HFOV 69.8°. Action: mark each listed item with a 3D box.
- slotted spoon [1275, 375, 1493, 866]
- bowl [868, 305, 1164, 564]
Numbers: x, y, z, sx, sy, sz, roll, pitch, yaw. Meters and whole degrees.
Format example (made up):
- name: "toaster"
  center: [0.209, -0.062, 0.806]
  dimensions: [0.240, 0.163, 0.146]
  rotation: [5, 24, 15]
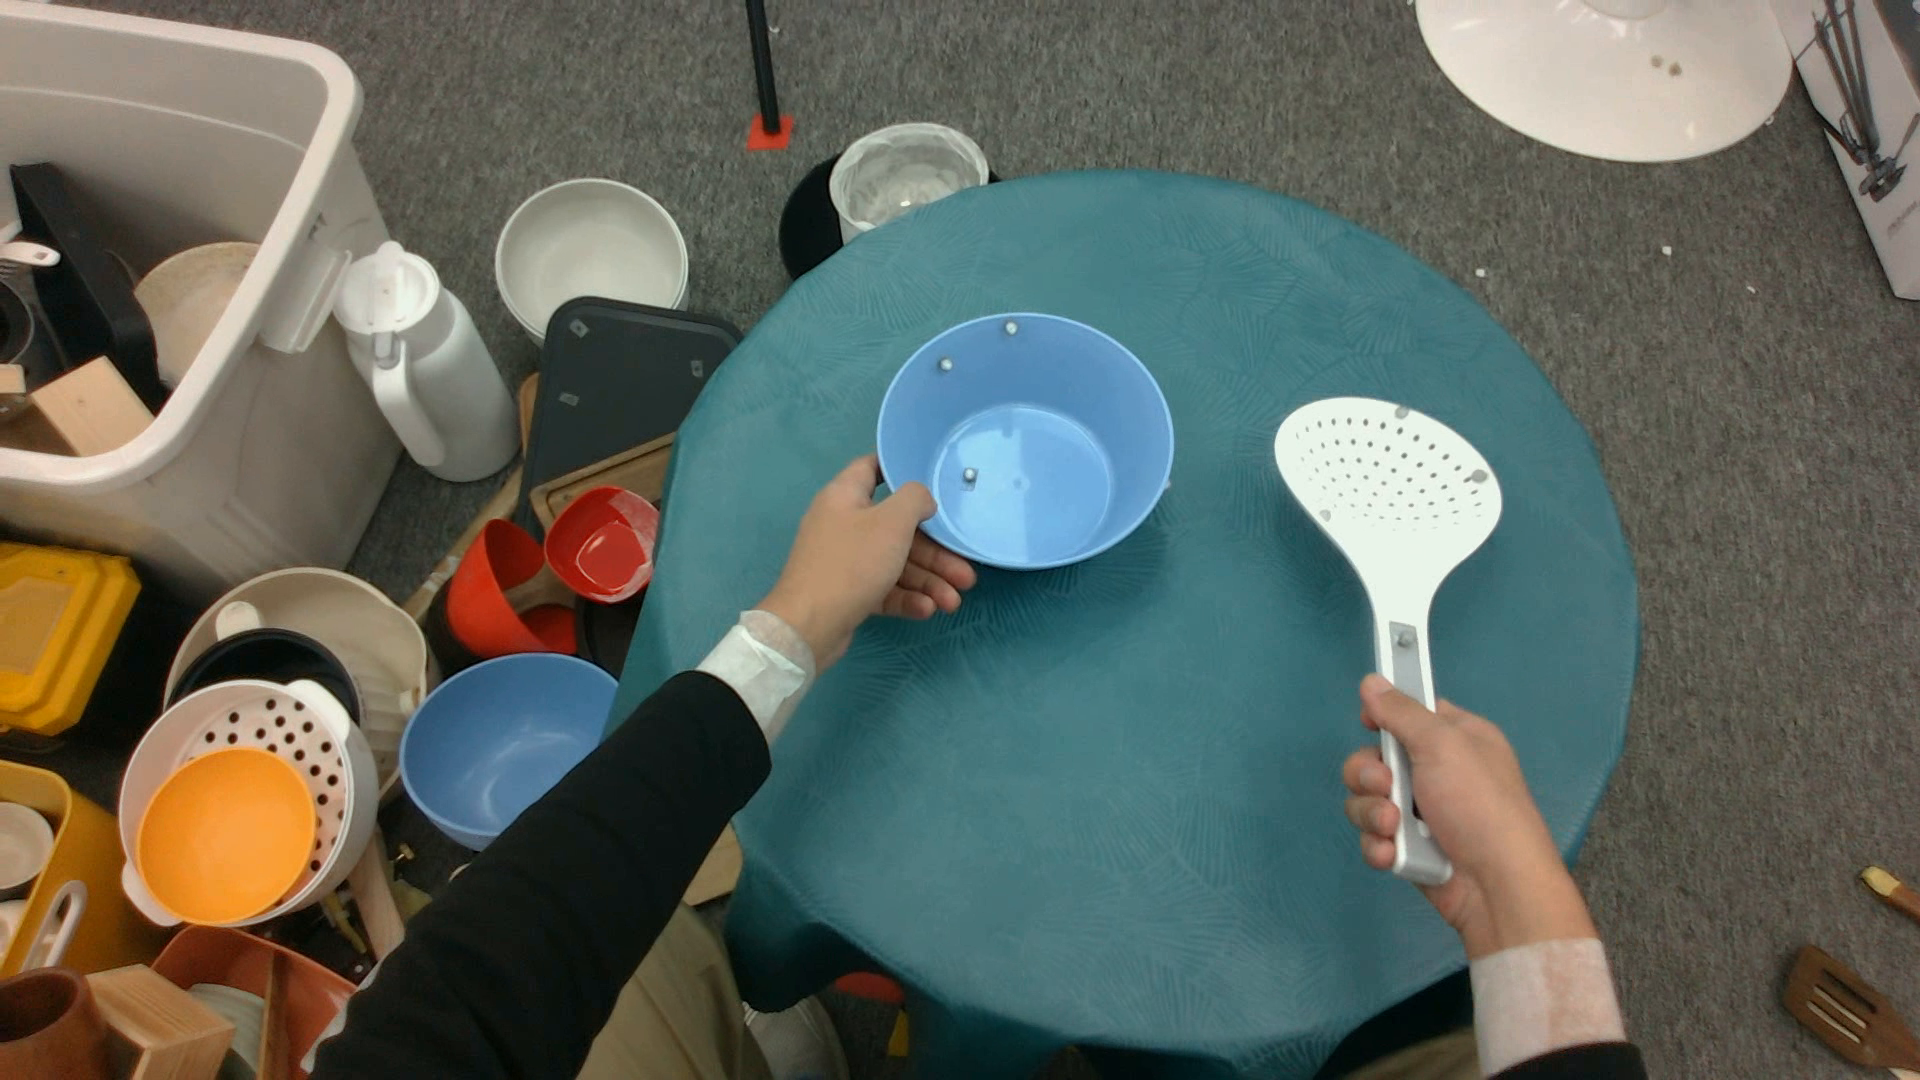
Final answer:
- name: "slotted spoon"
  center: [0.238, 0.027, 0.767]
  dimensions: [0.136, 0.045, 0.351]
  rotation: [14, 42, 0]
- name: "bowl"
  center: [0.033, -0.052, 0.839]
  dimensions: [0.176, 0.070, 0.176]
  rotation: [0, 64, -1]
